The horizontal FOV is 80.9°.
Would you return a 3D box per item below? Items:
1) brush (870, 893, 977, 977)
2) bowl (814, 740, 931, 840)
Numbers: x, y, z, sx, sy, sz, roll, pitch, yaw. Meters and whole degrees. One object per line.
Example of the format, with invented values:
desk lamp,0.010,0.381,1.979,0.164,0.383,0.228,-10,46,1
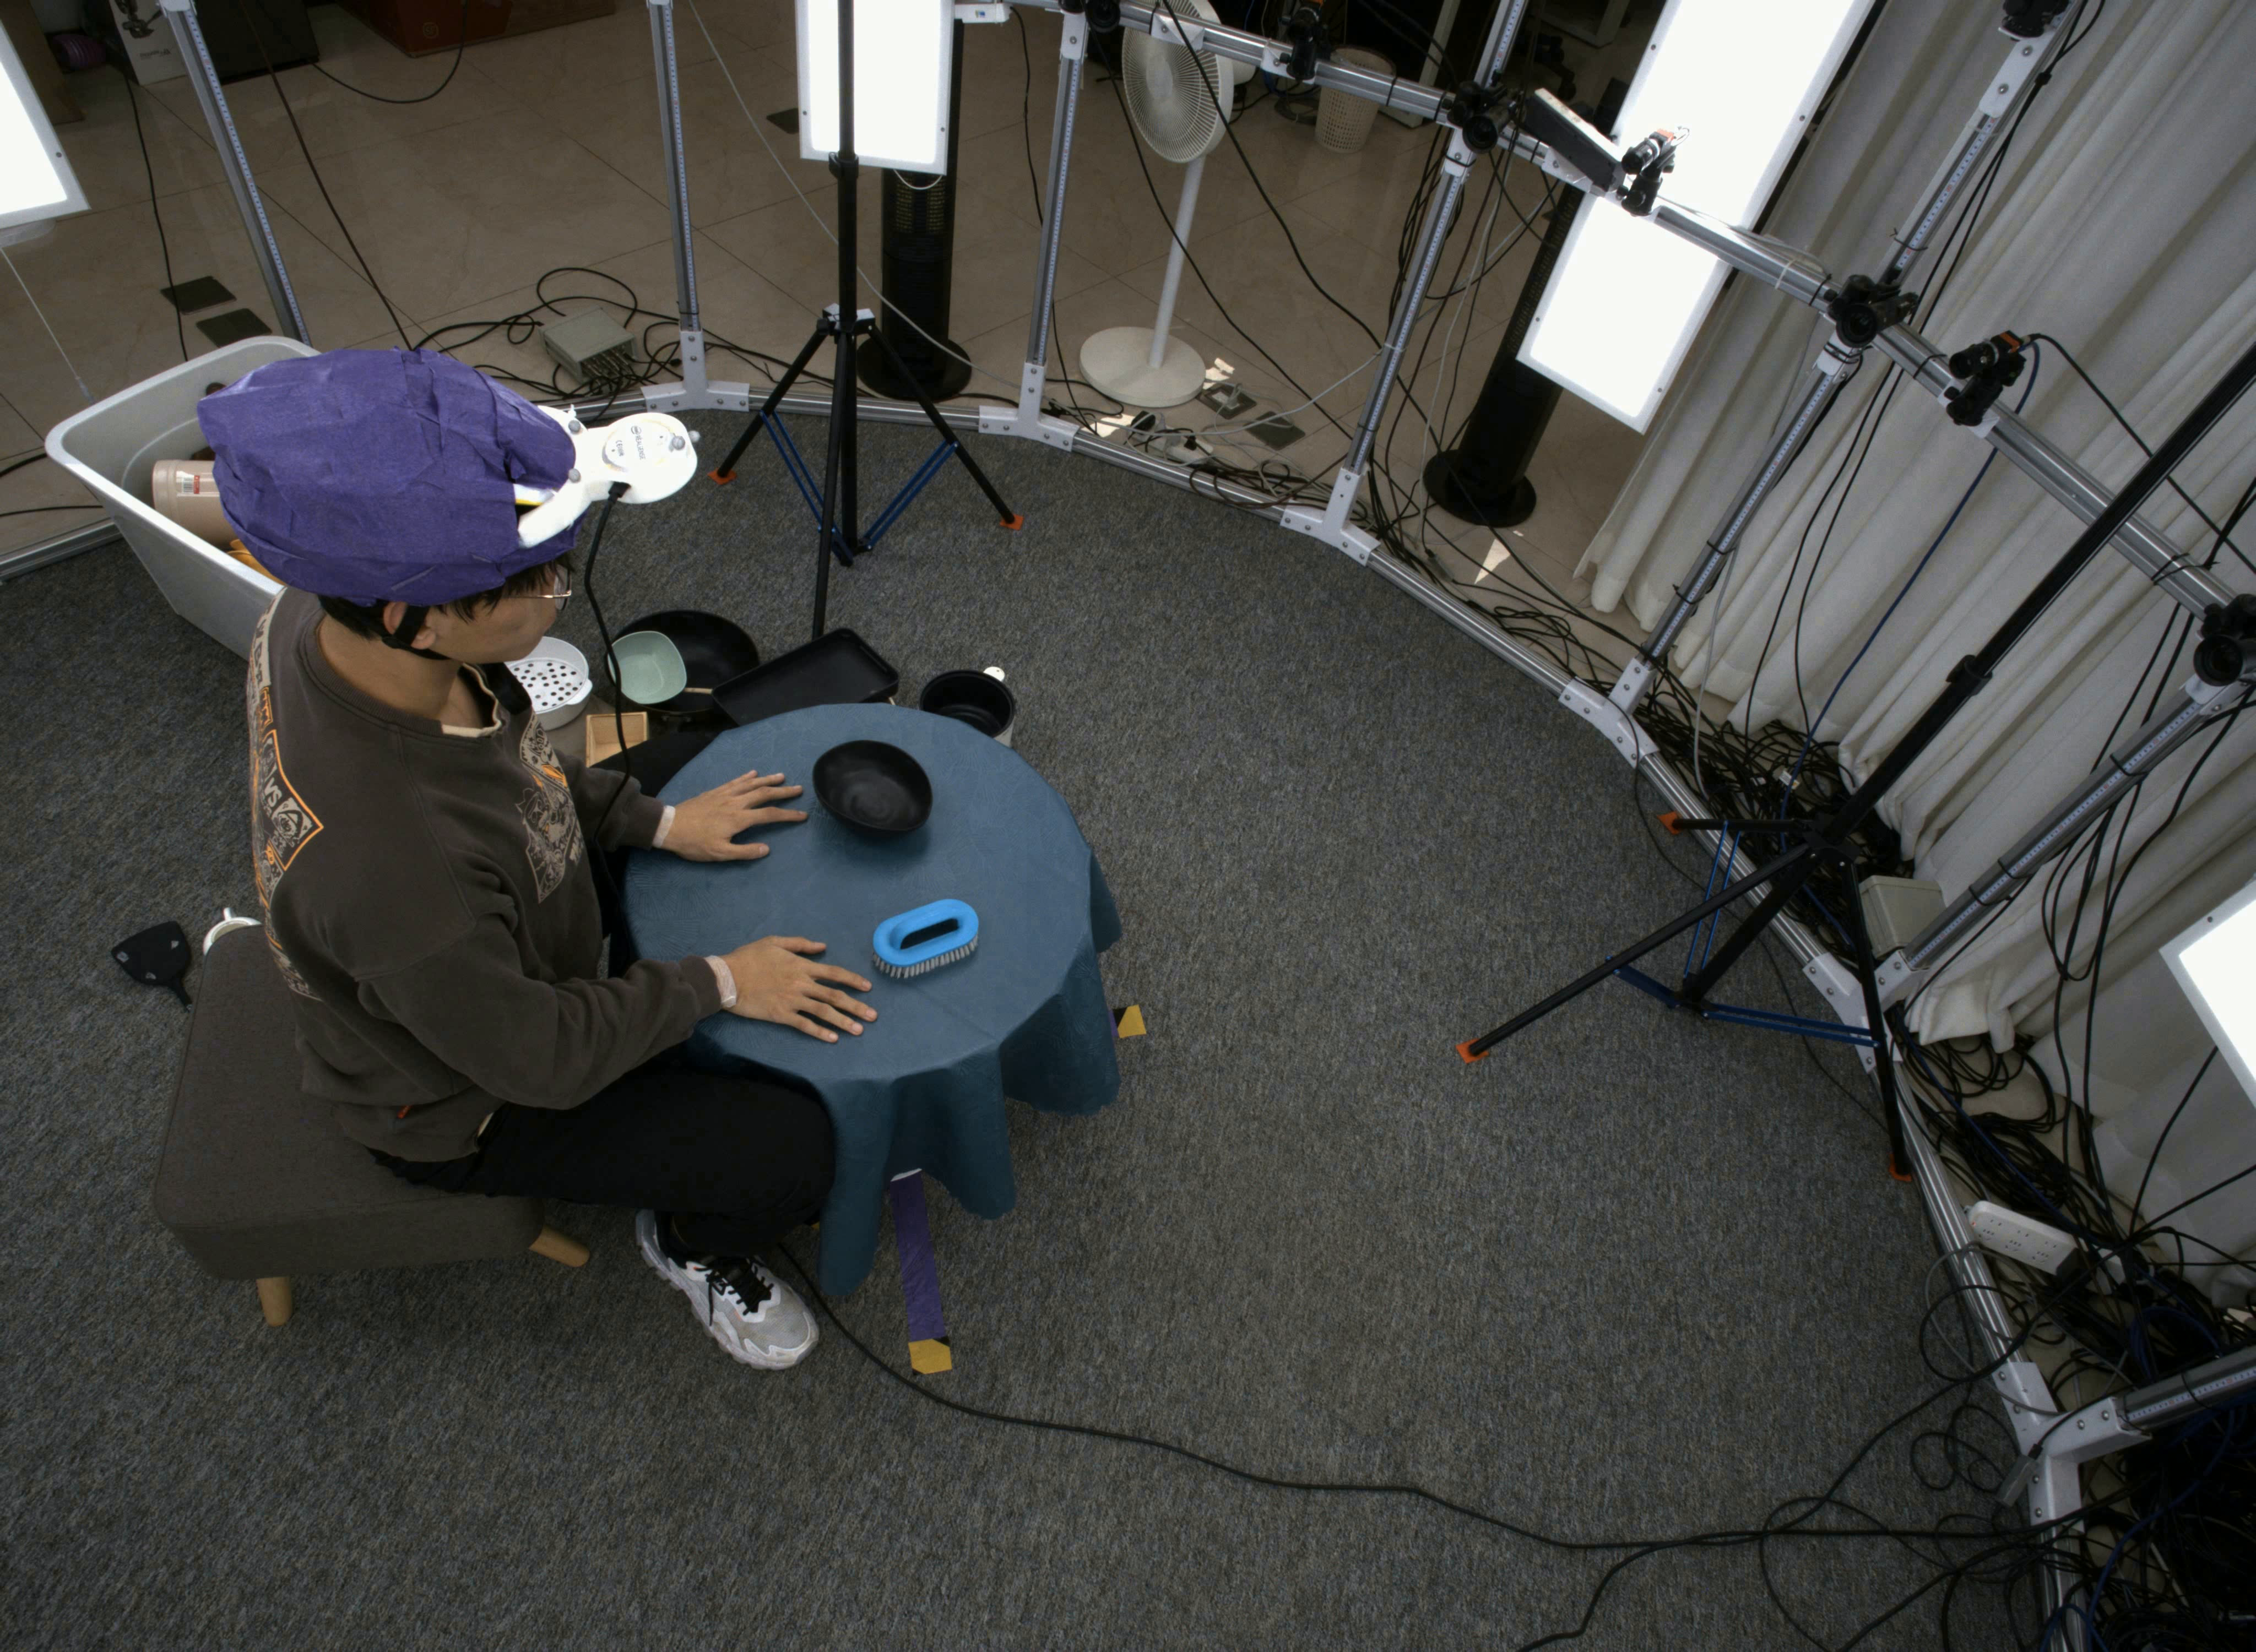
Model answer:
brush,-0.256,0.129,1.643,0.142,0.065,0.082,-19,64,-23
bowl,-0.342,-0.039,1.747,0.168,0.068,0.137,30,54,8
